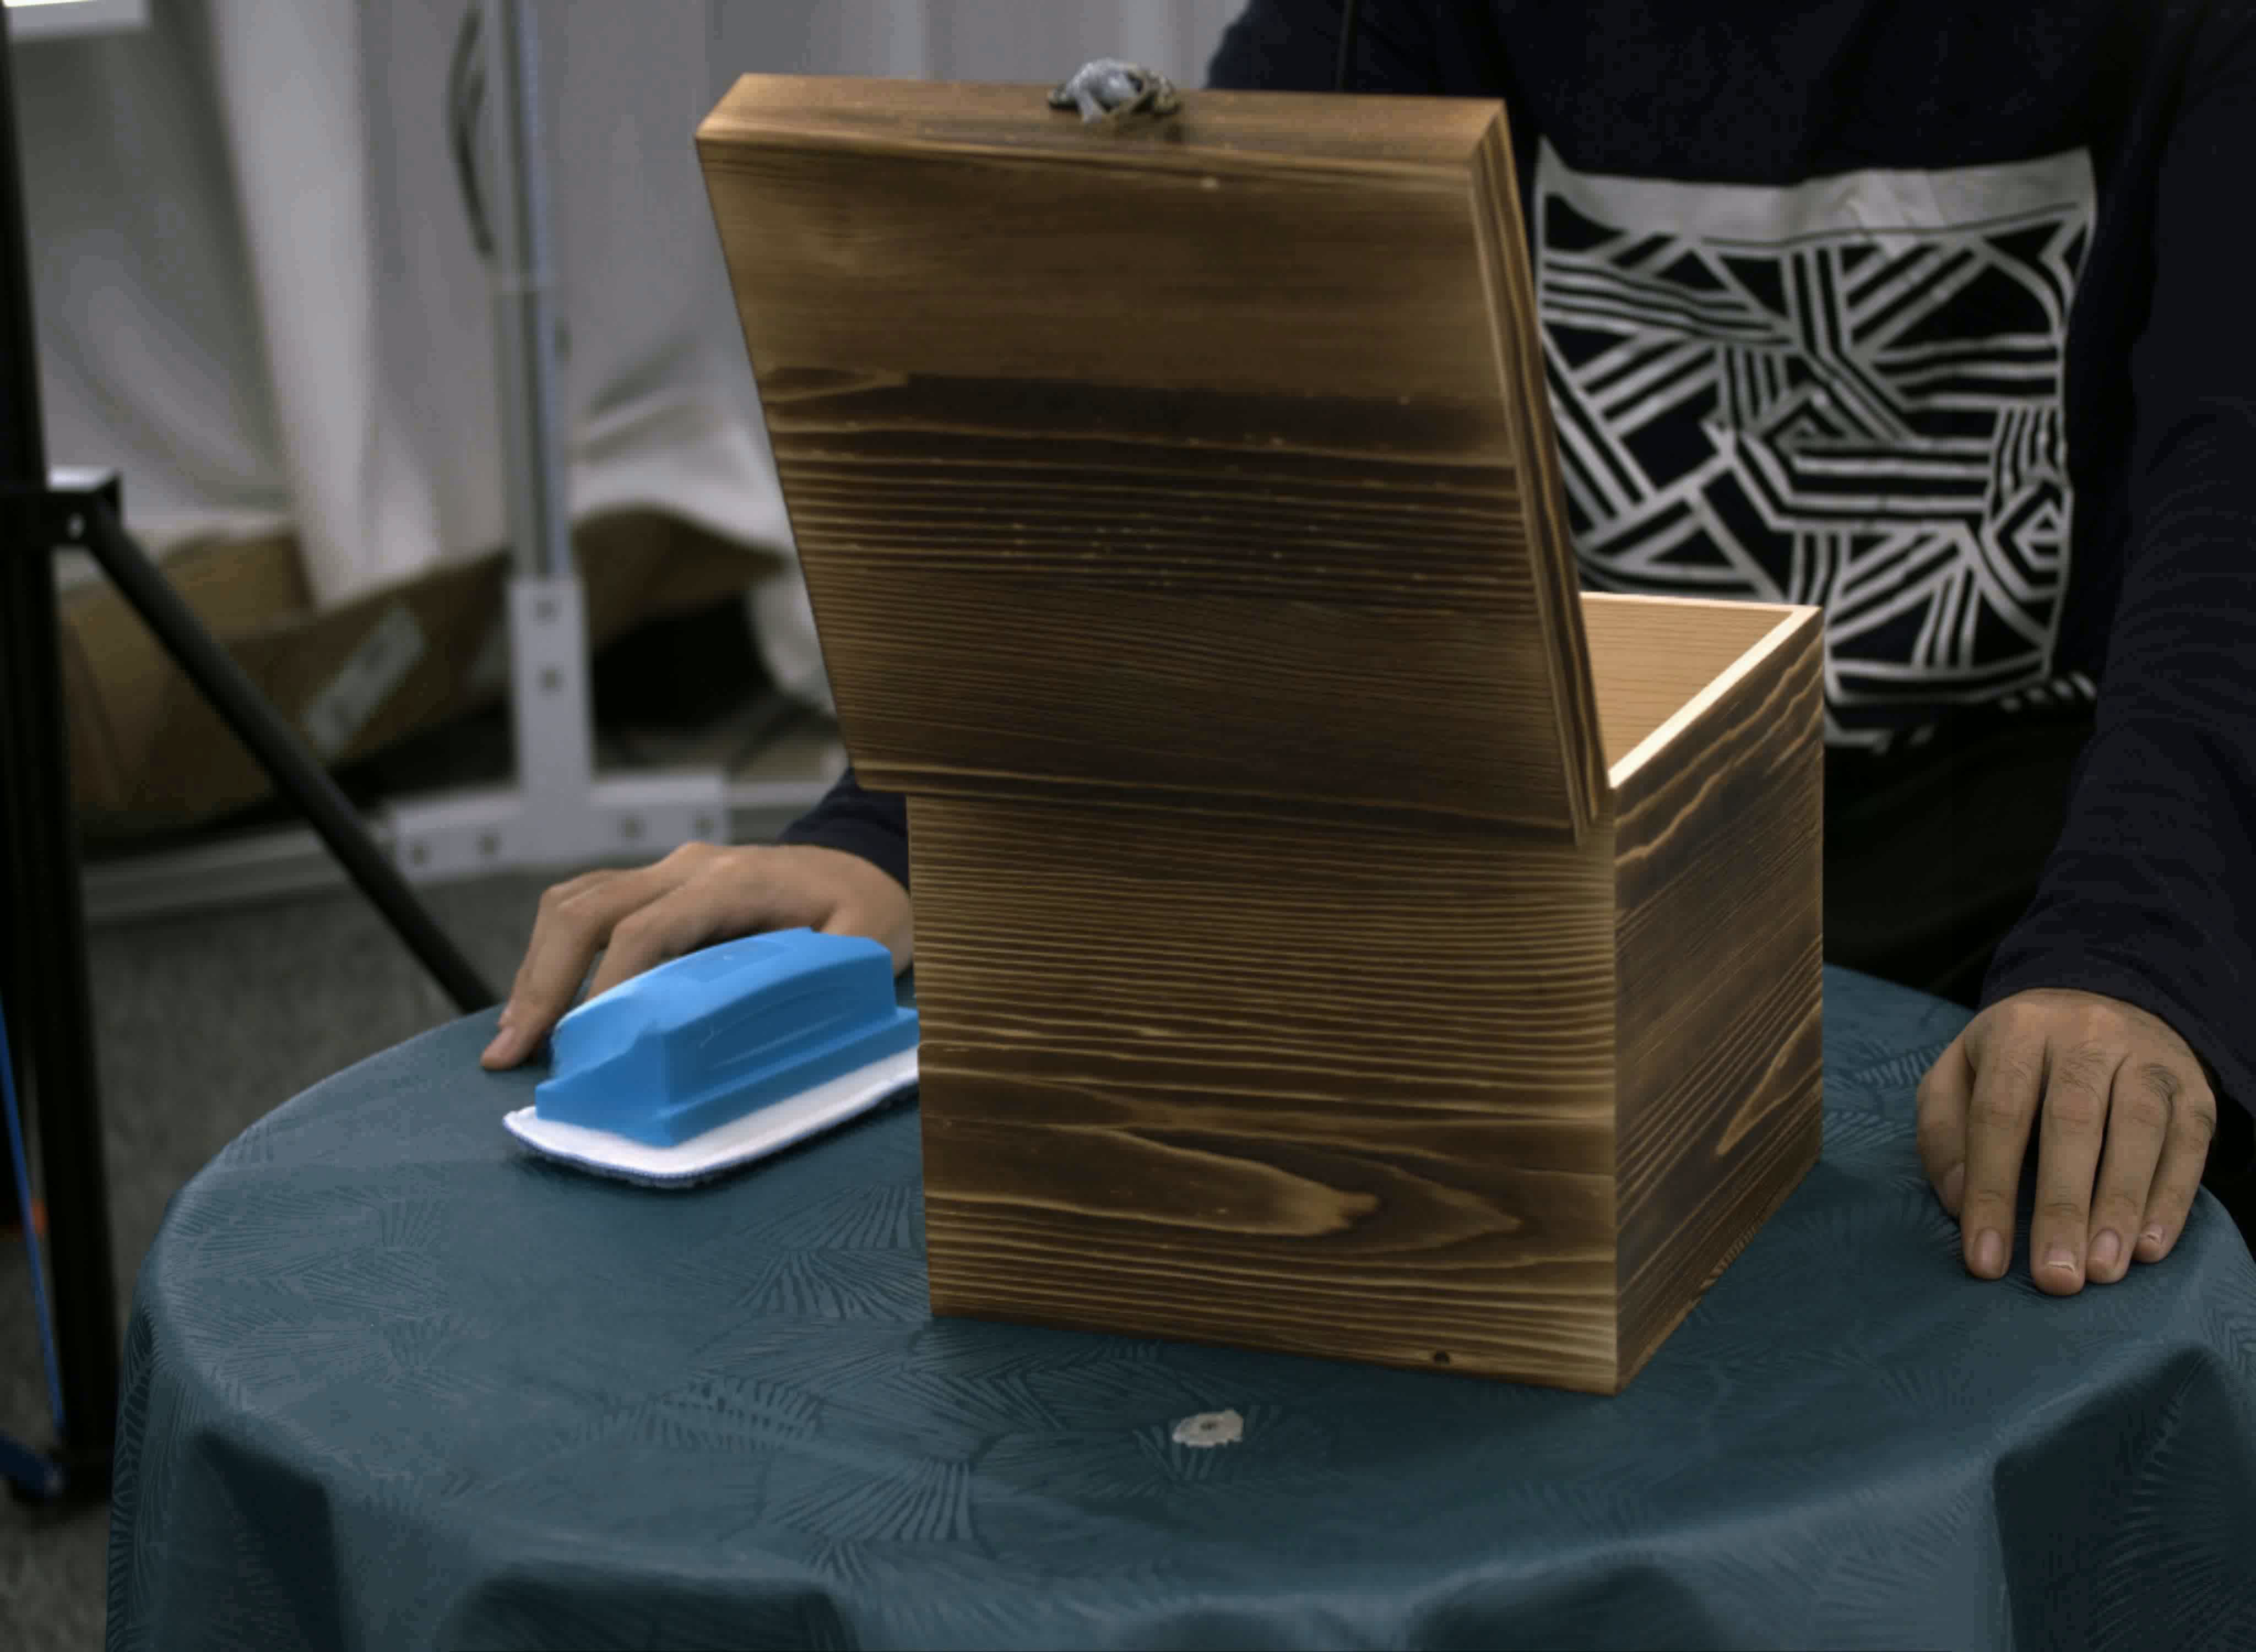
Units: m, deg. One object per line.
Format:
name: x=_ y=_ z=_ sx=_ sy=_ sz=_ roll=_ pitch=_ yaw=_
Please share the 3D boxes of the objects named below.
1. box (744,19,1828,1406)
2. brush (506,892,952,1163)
box: x=0.053 y=-0.043 z=1.425 sx=0.211 sy=0.375 sz=0.318 roll=5 pitch=17 yaw=22
brush: x=-0.120 y=0.058 z=1.644 sx=0.086 sy=0.056 sz=0.141 roll=15 pitch=25 yaw=39
